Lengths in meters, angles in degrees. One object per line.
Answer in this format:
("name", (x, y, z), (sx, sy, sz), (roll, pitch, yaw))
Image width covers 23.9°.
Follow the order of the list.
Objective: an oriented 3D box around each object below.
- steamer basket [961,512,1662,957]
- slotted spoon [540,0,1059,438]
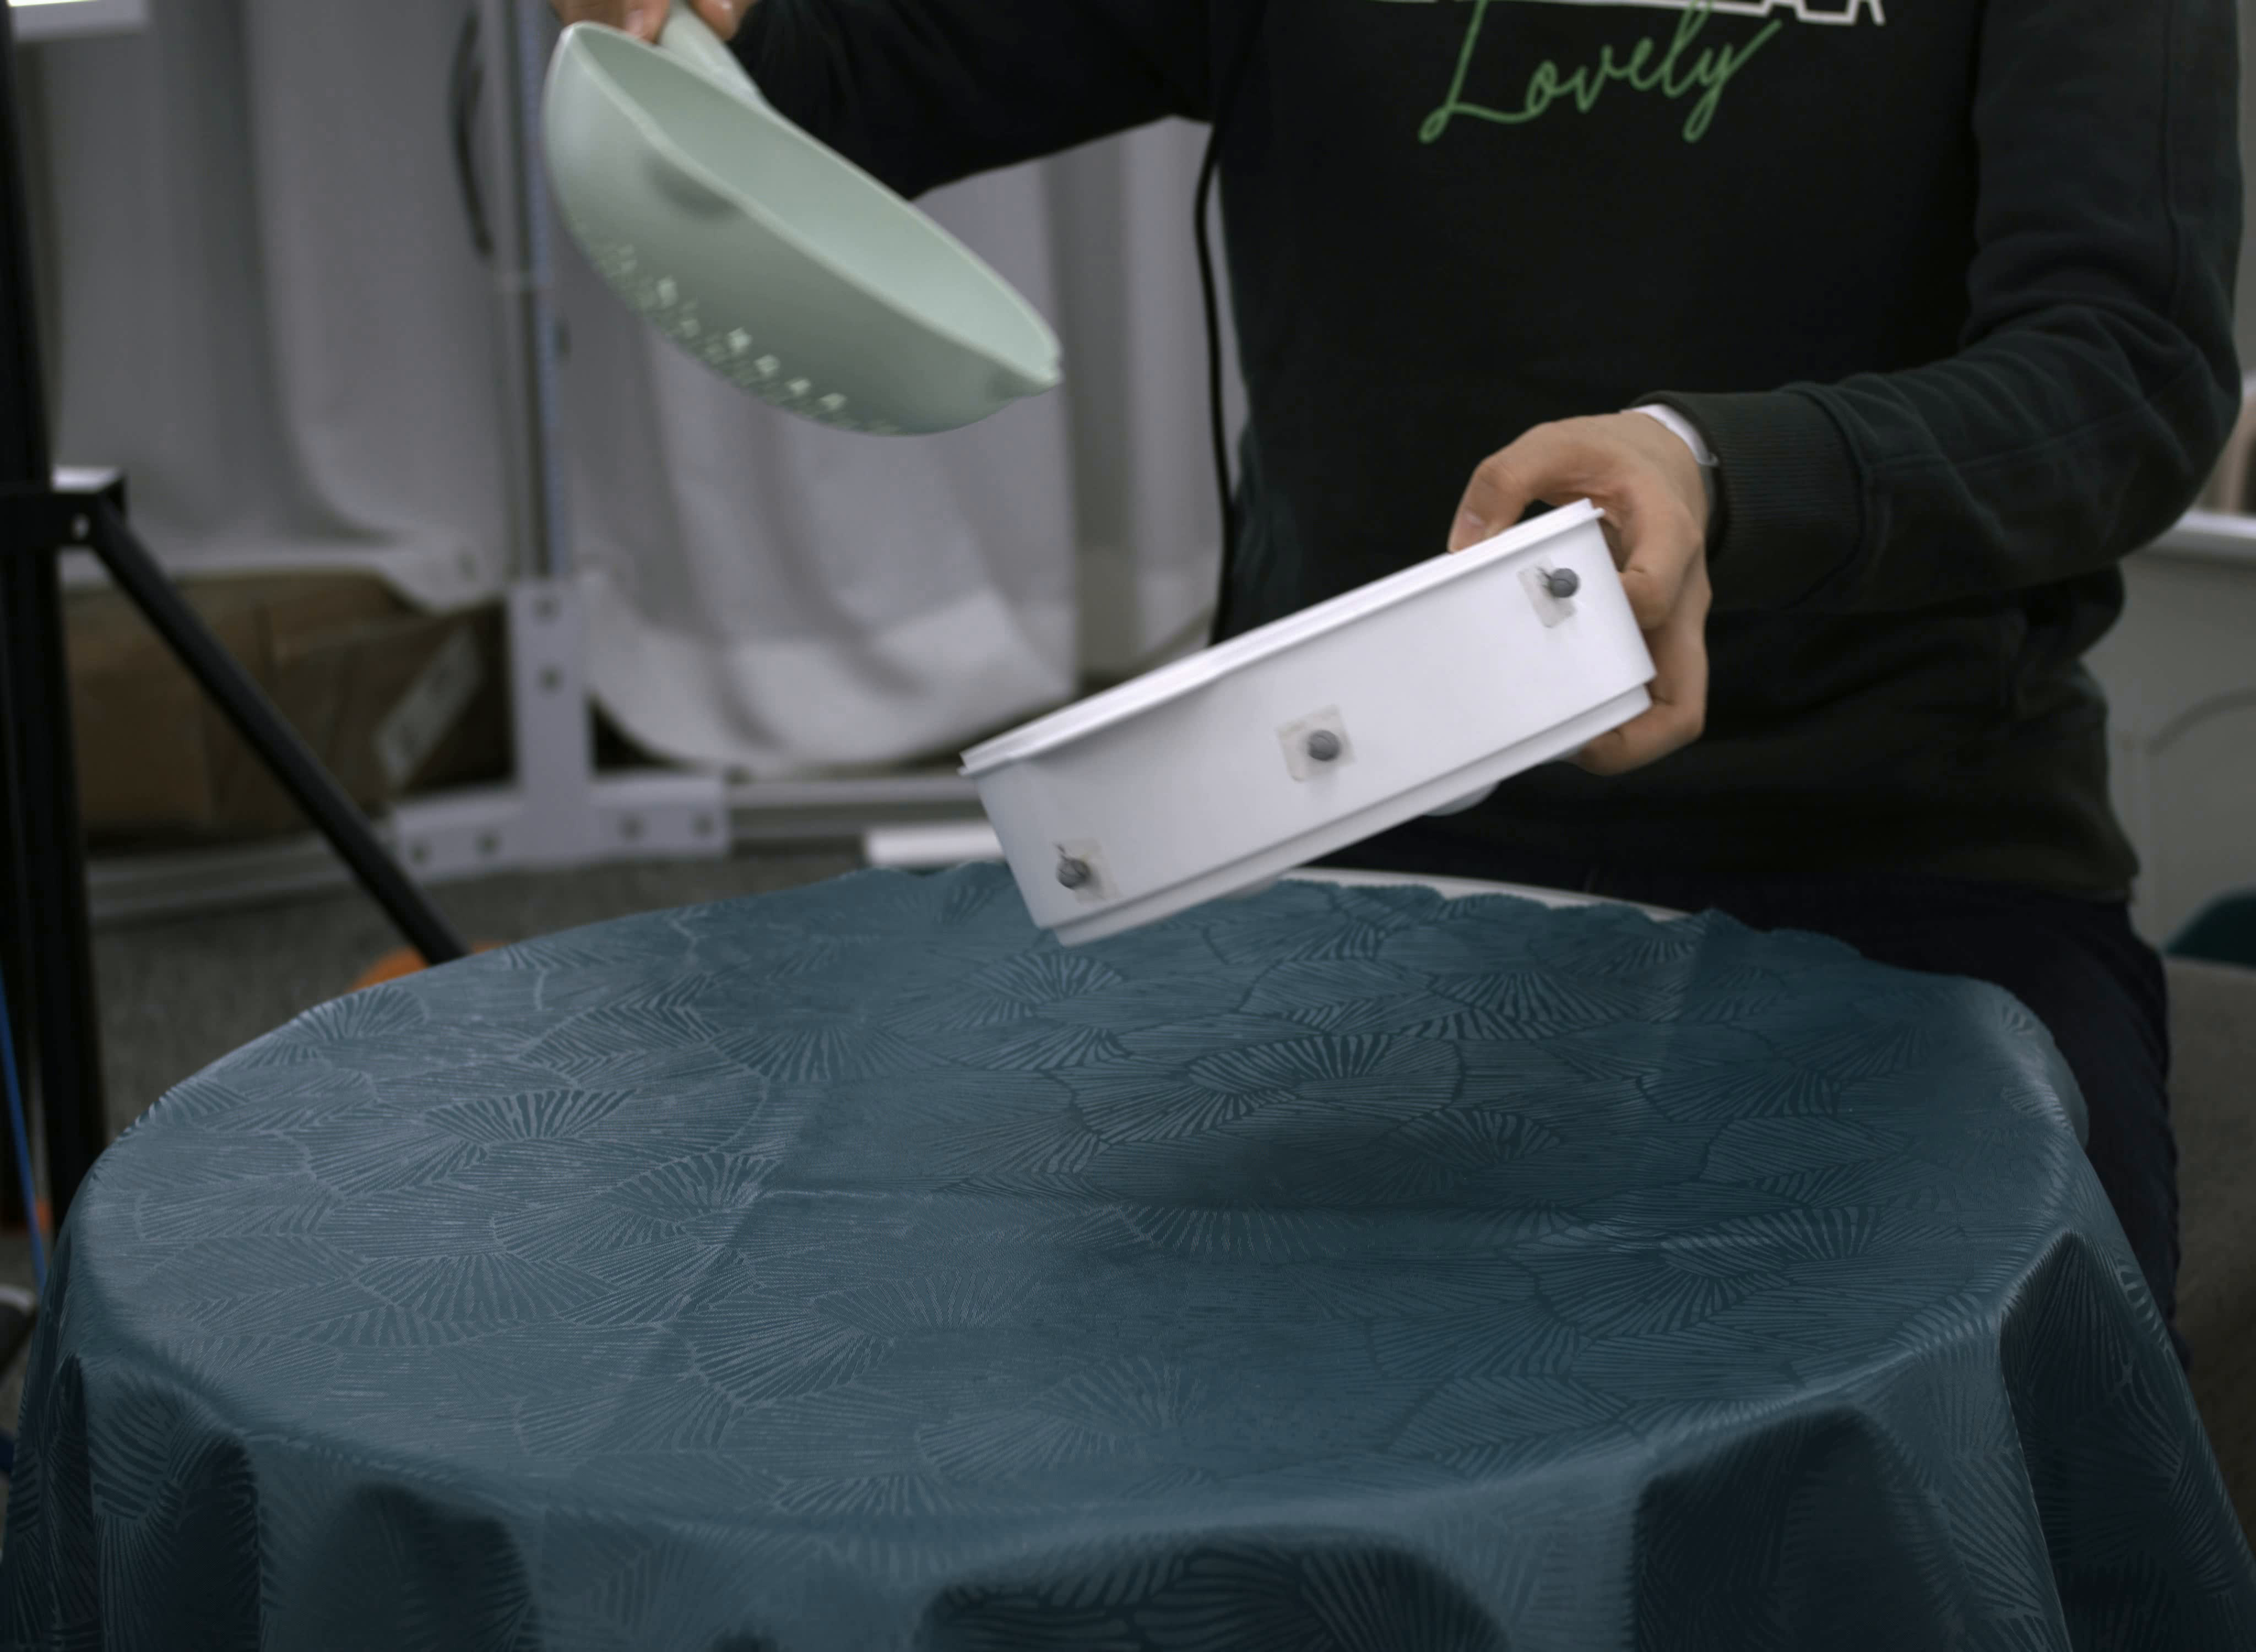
("steamer basket", (0.055, -0.023, 1.528), (0.205, 0.069, 0.226), (-20, 2, 34))
("slotted spoon", (-0.125, -0.211, 1.616), (0.166, 0.076, 0.364), (31, 20, -27))
